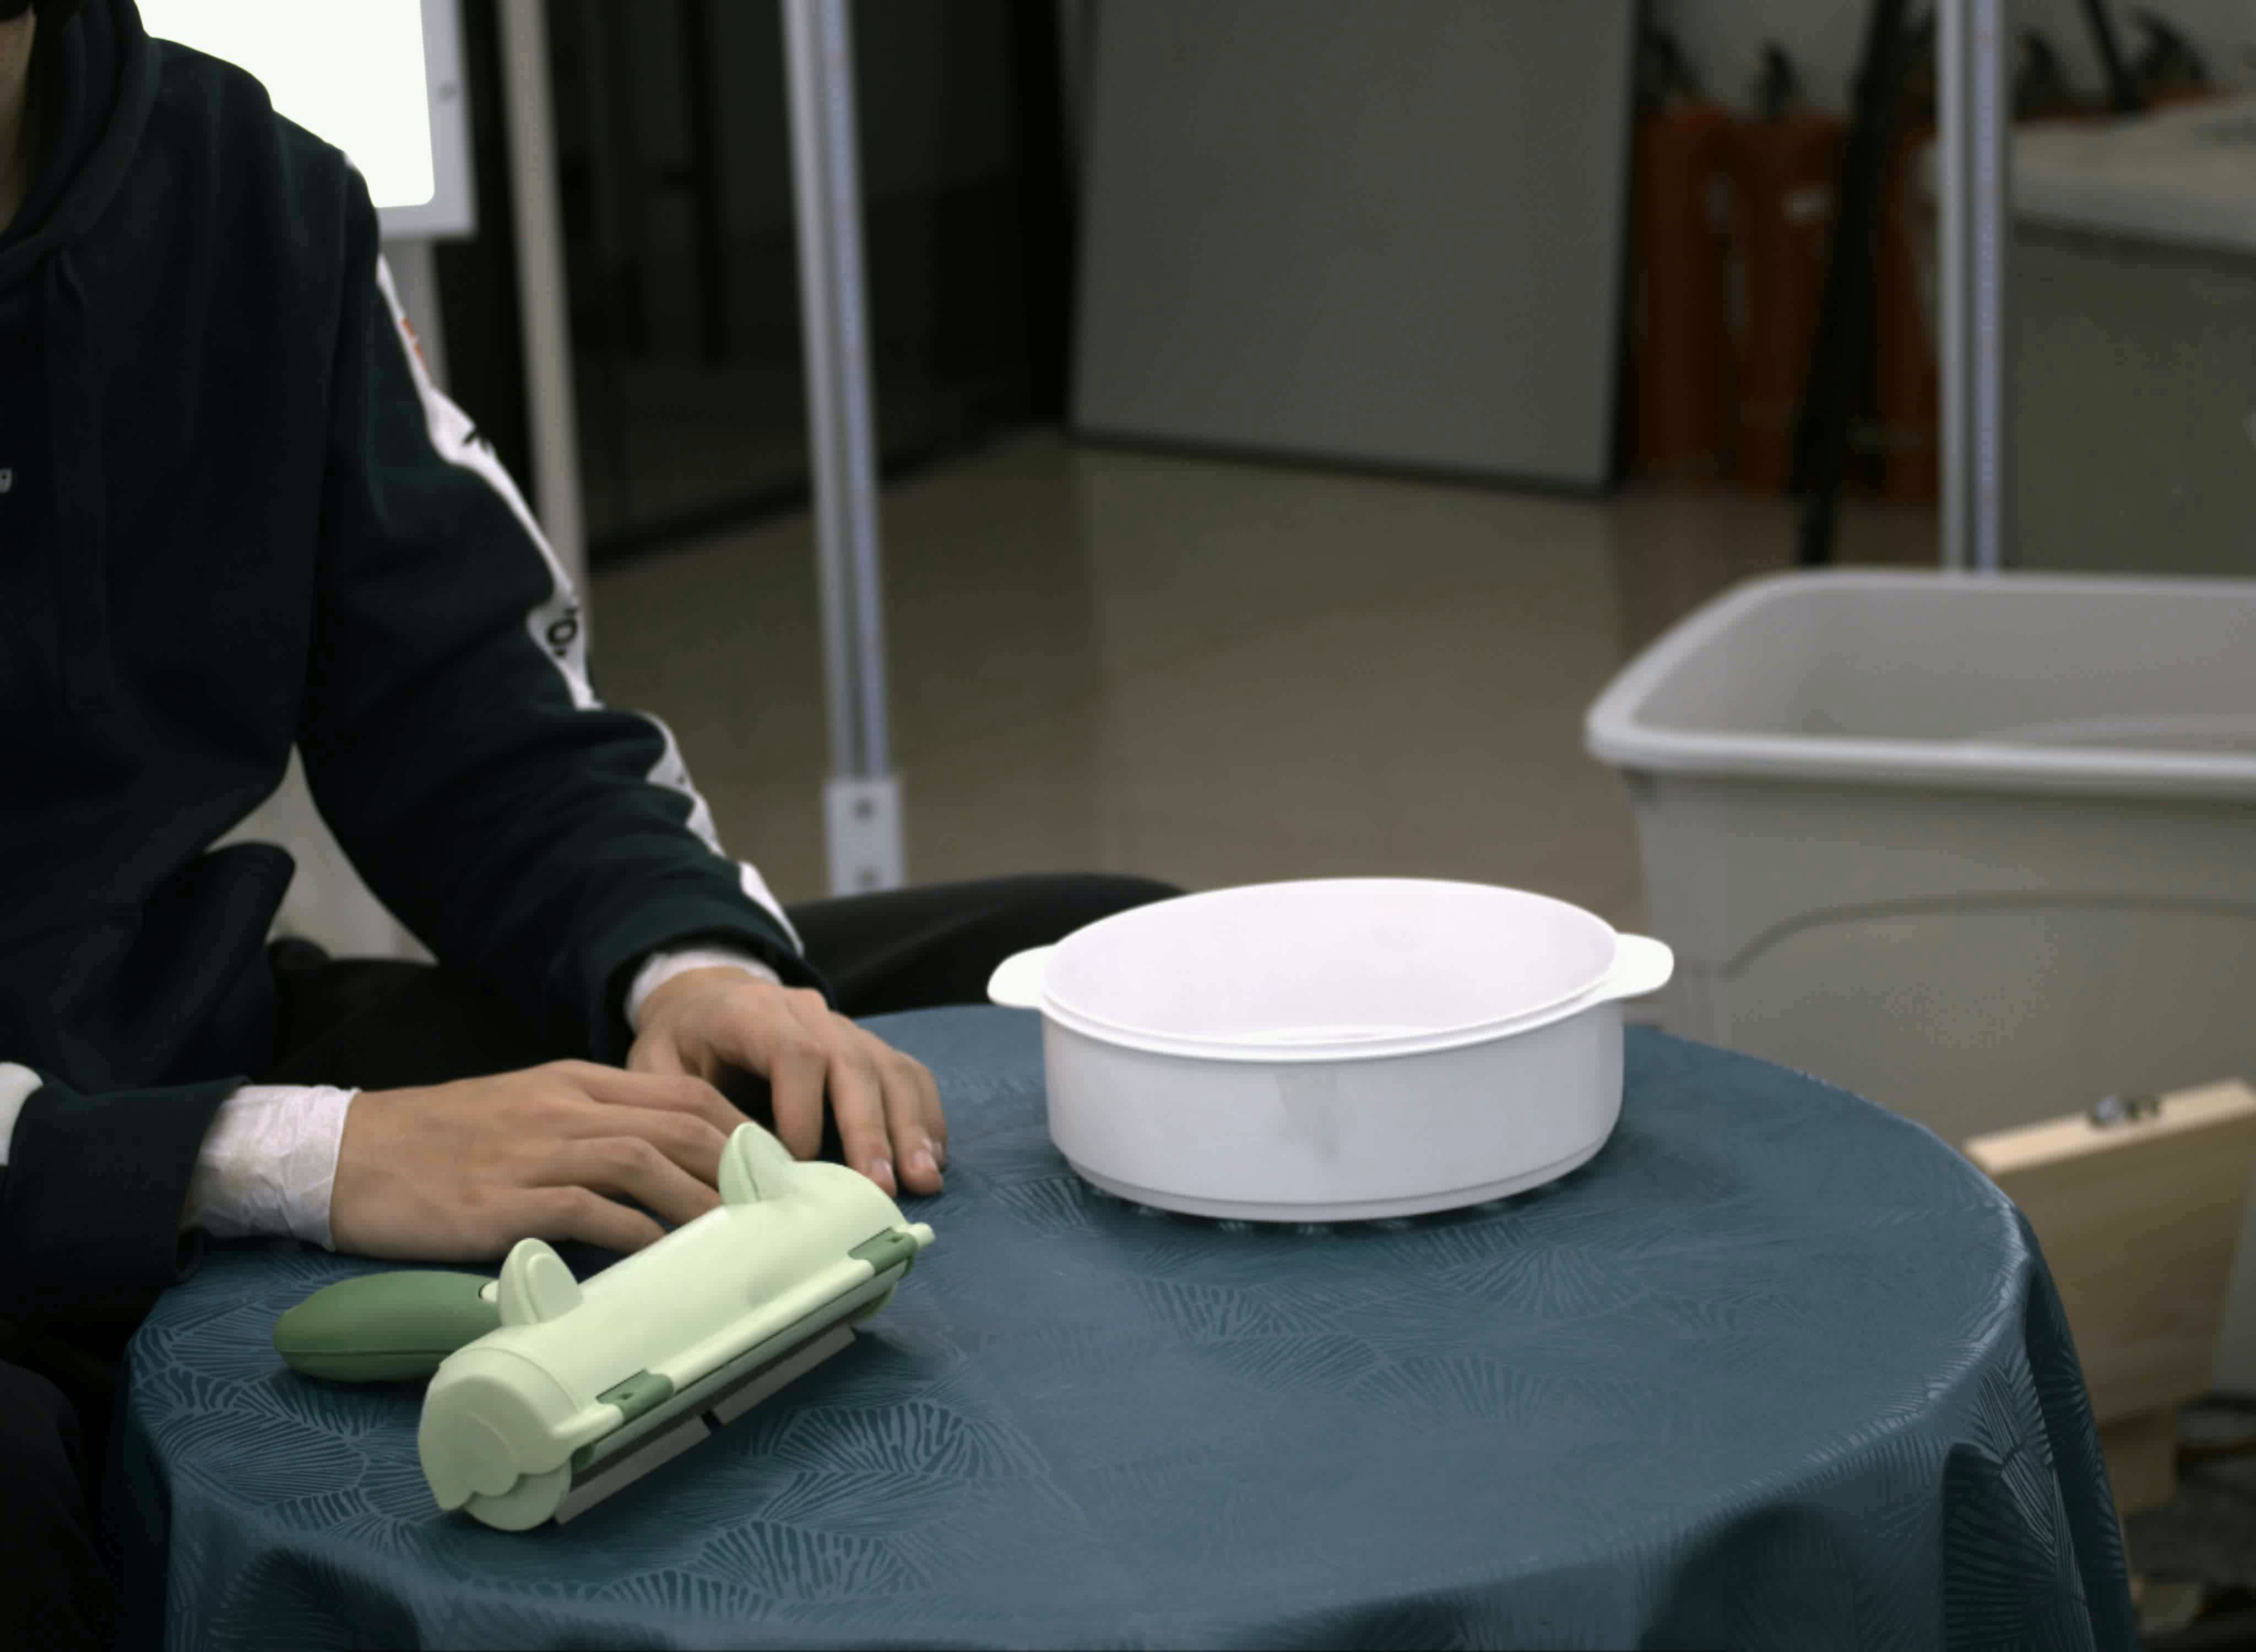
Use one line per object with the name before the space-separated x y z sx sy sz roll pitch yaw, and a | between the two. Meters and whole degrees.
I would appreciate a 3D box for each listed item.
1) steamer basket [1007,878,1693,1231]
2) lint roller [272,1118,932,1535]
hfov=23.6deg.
steamer basket | 0.074 0.075 1.792 0.228 0.070 0.201 -1 15 8
lint roller | -0.180 0.136 1.604 0.184 0.083 0.195 9 18 29
